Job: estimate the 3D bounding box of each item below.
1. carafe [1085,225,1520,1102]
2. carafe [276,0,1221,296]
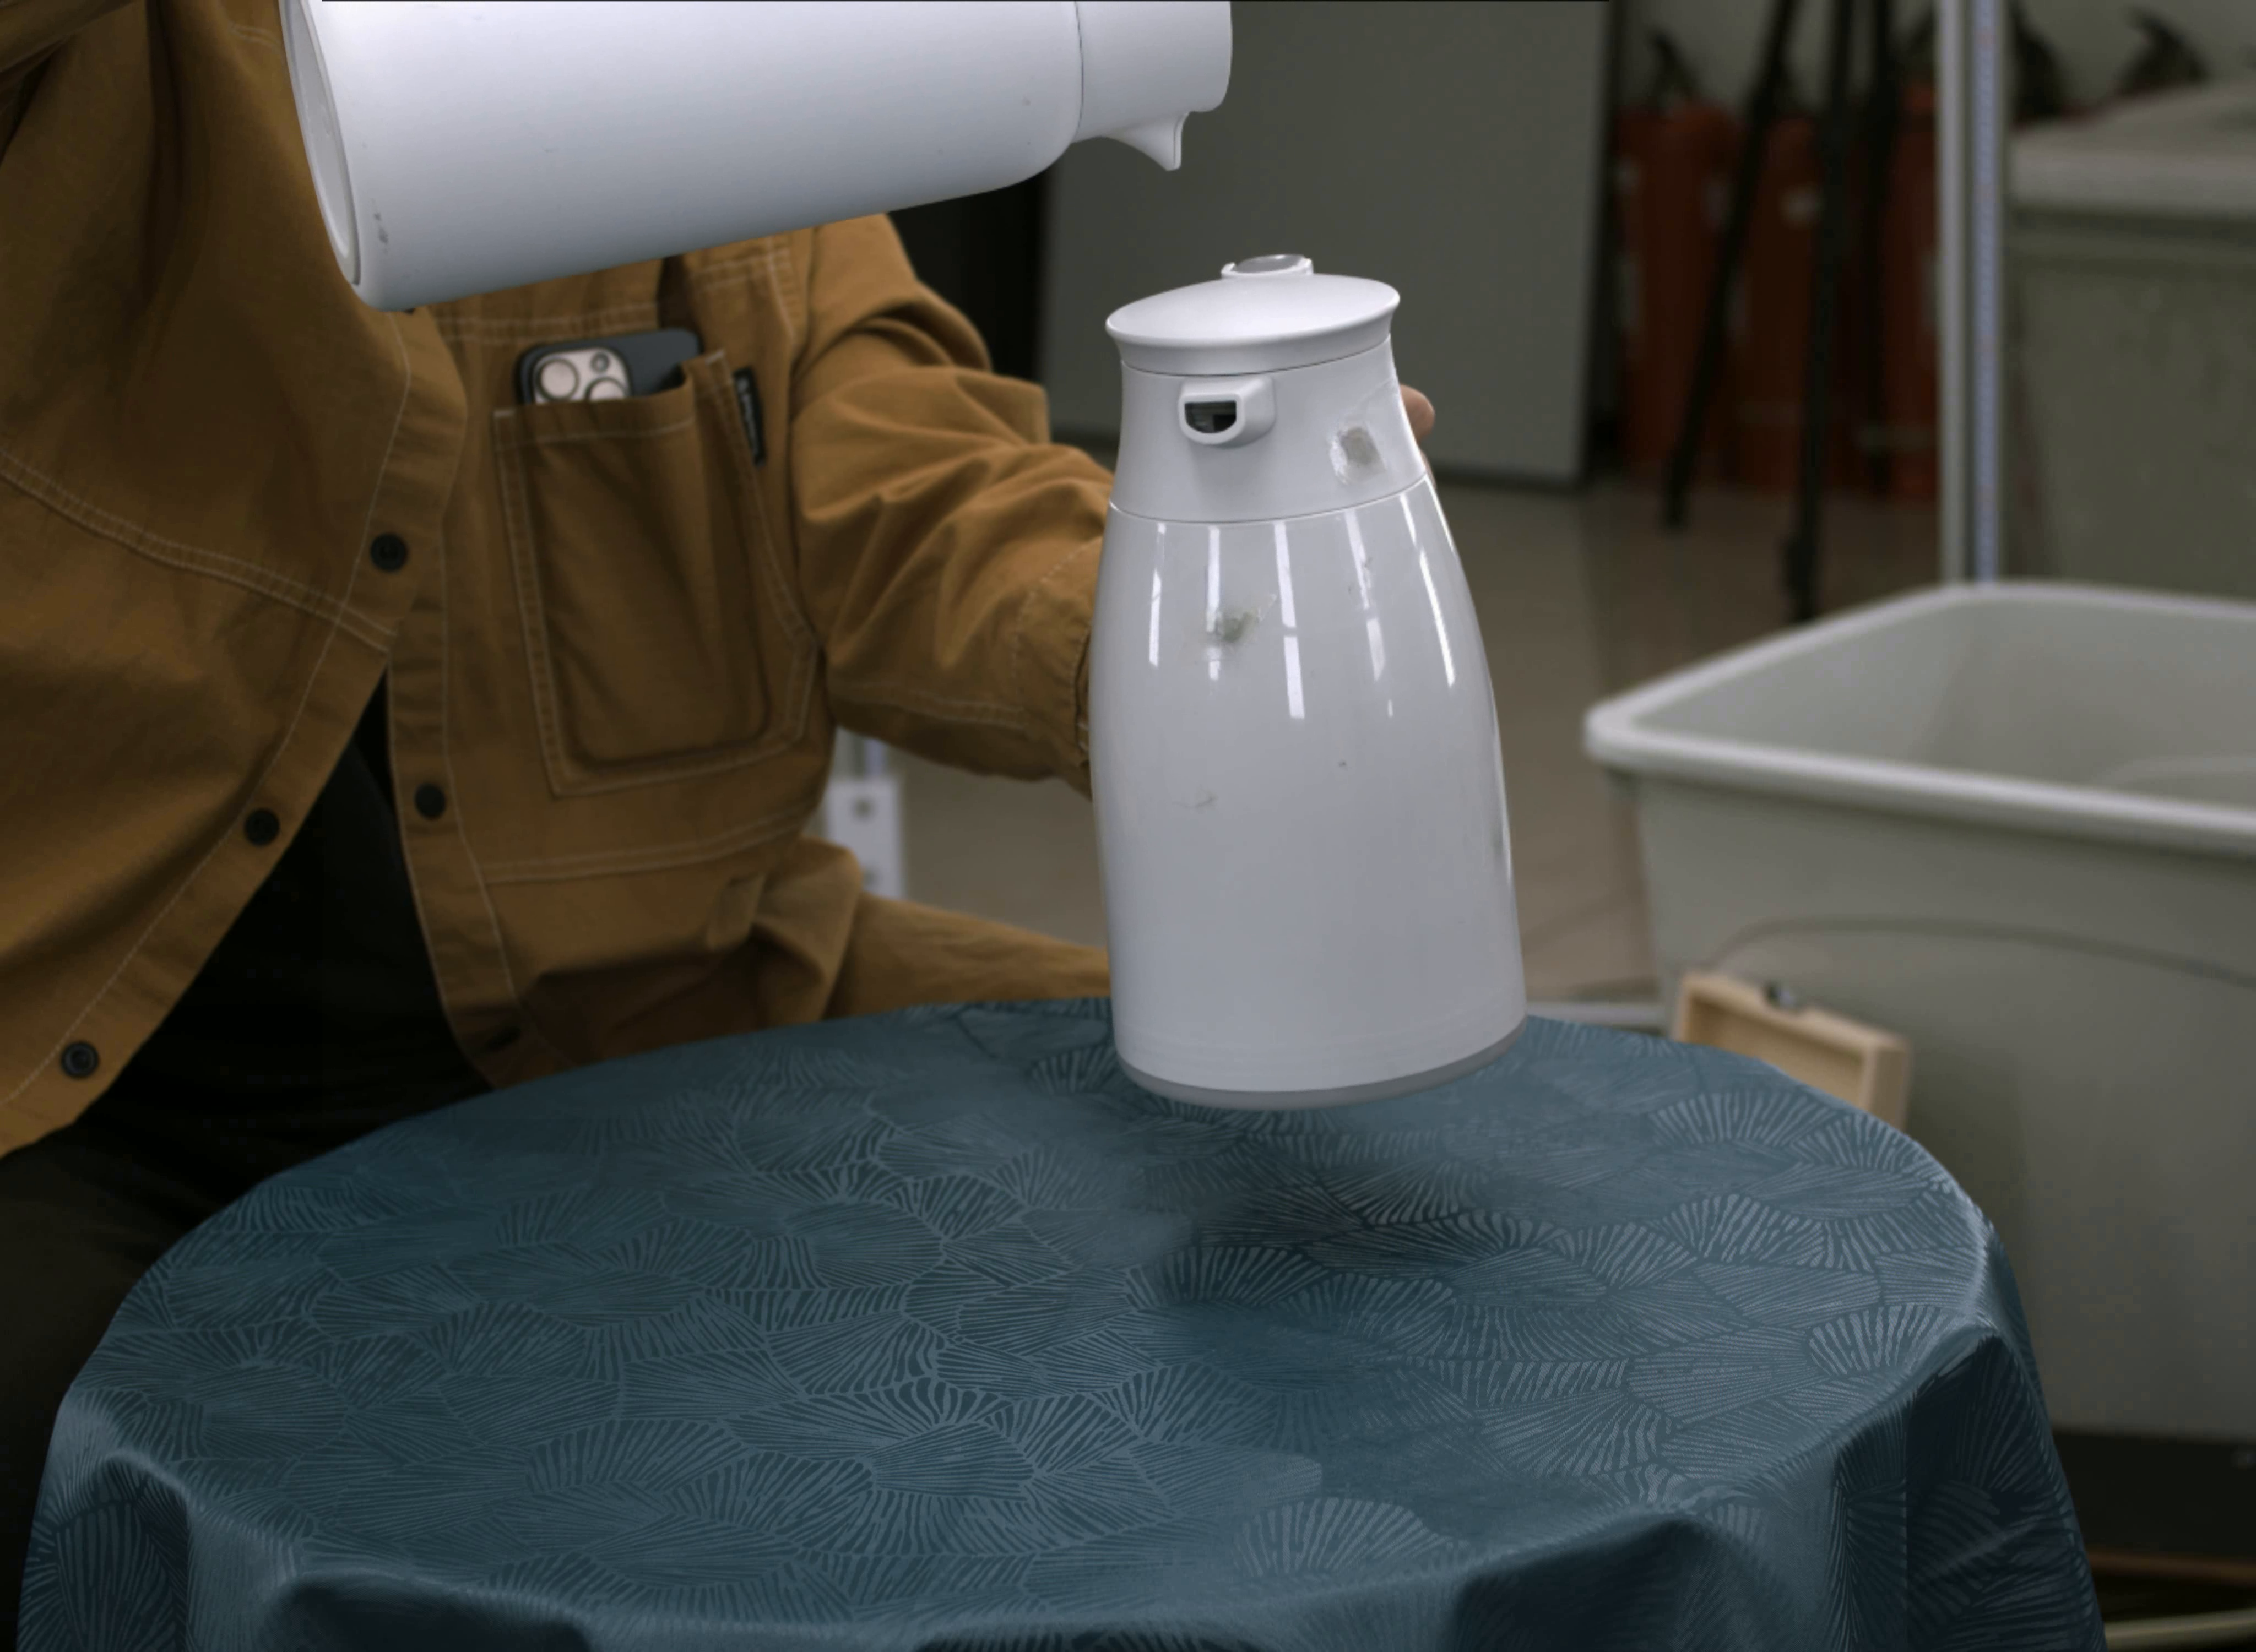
[{"bbox_3d":[0.052,-0.059,1.698,0.132,0.251,0.166,-2,16,16],"label":"carafe"},{"bbox_3d":[-0.112,-0.253,1.576,0.264,0.174,0.125,-13,30,-9],"label":"carafe"}]
